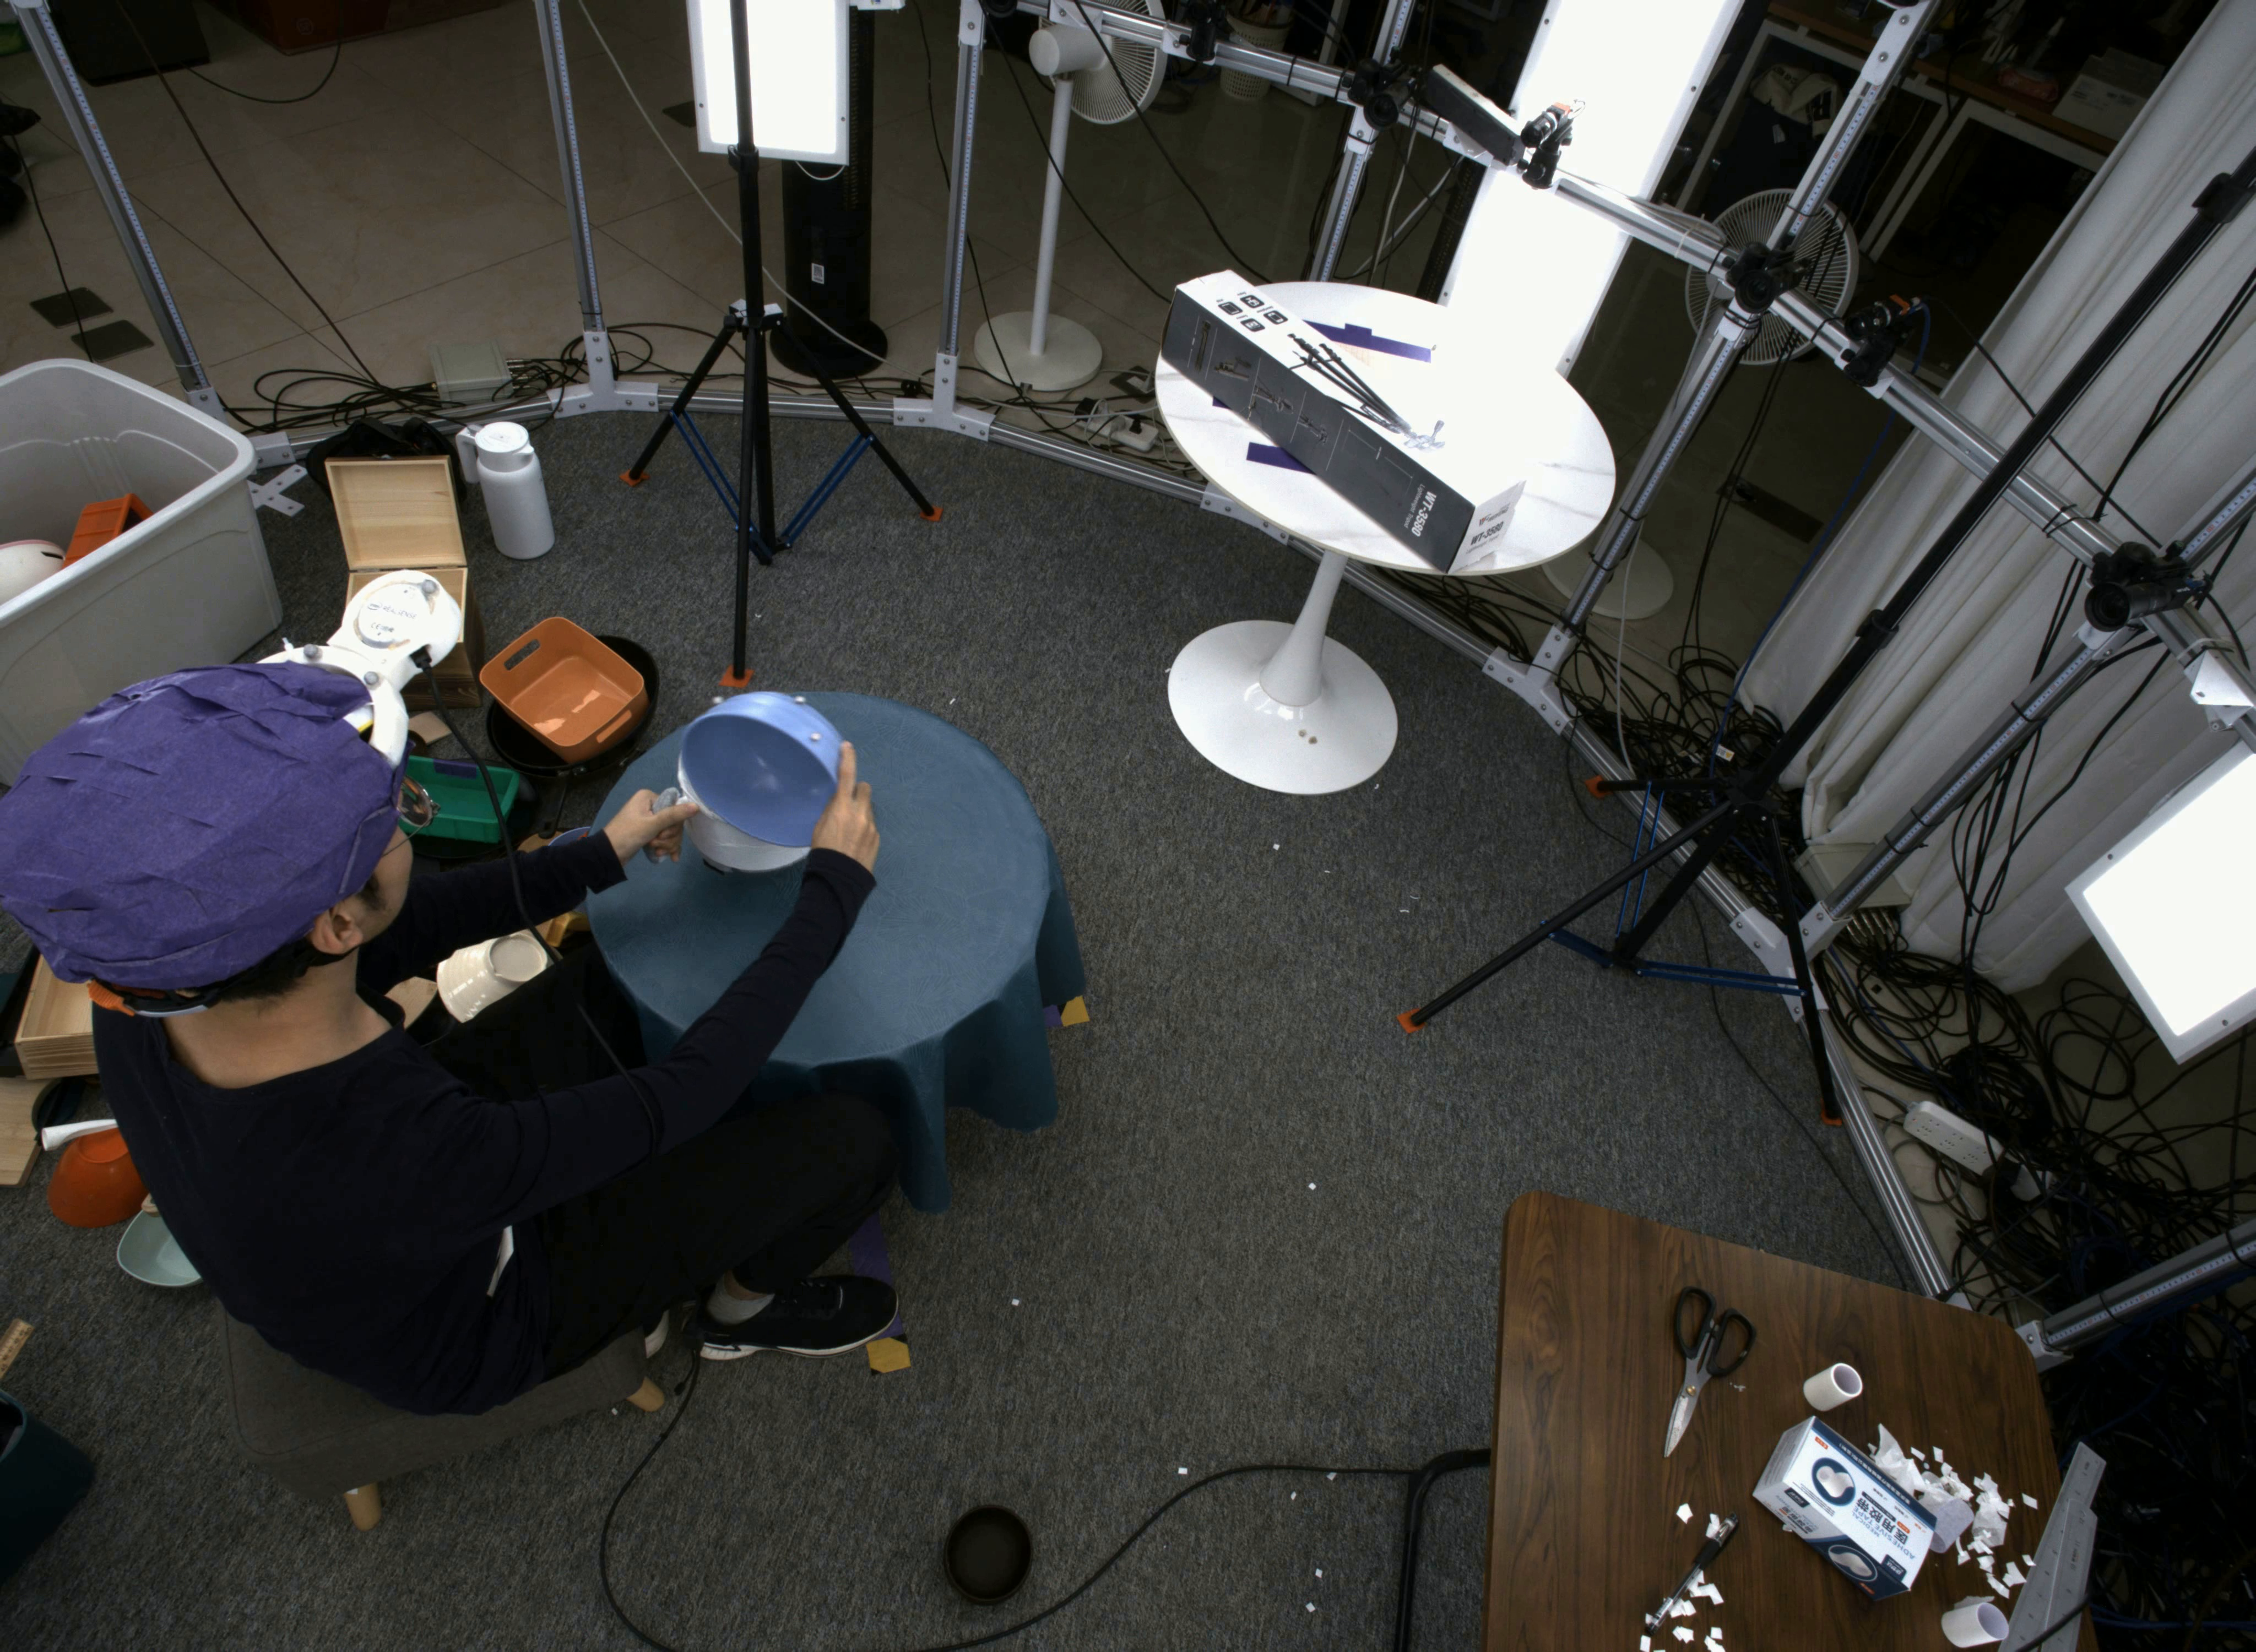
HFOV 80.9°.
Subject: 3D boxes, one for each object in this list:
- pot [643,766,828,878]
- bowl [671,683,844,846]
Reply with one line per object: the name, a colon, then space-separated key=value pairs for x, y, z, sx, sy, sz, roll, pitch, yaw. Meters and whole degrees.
pot: x=-0.479 y=-0.030 z=1.575 sx=0.235 sy=0.139 sz=0.174 roll=-25 pitch=64 yaw=-28
bowl: x=-0.398 y=-0.084 z=1.442 sx=0.194 sy=0.201 sz=0.094 roll=18 pitch=45 yaw=1
